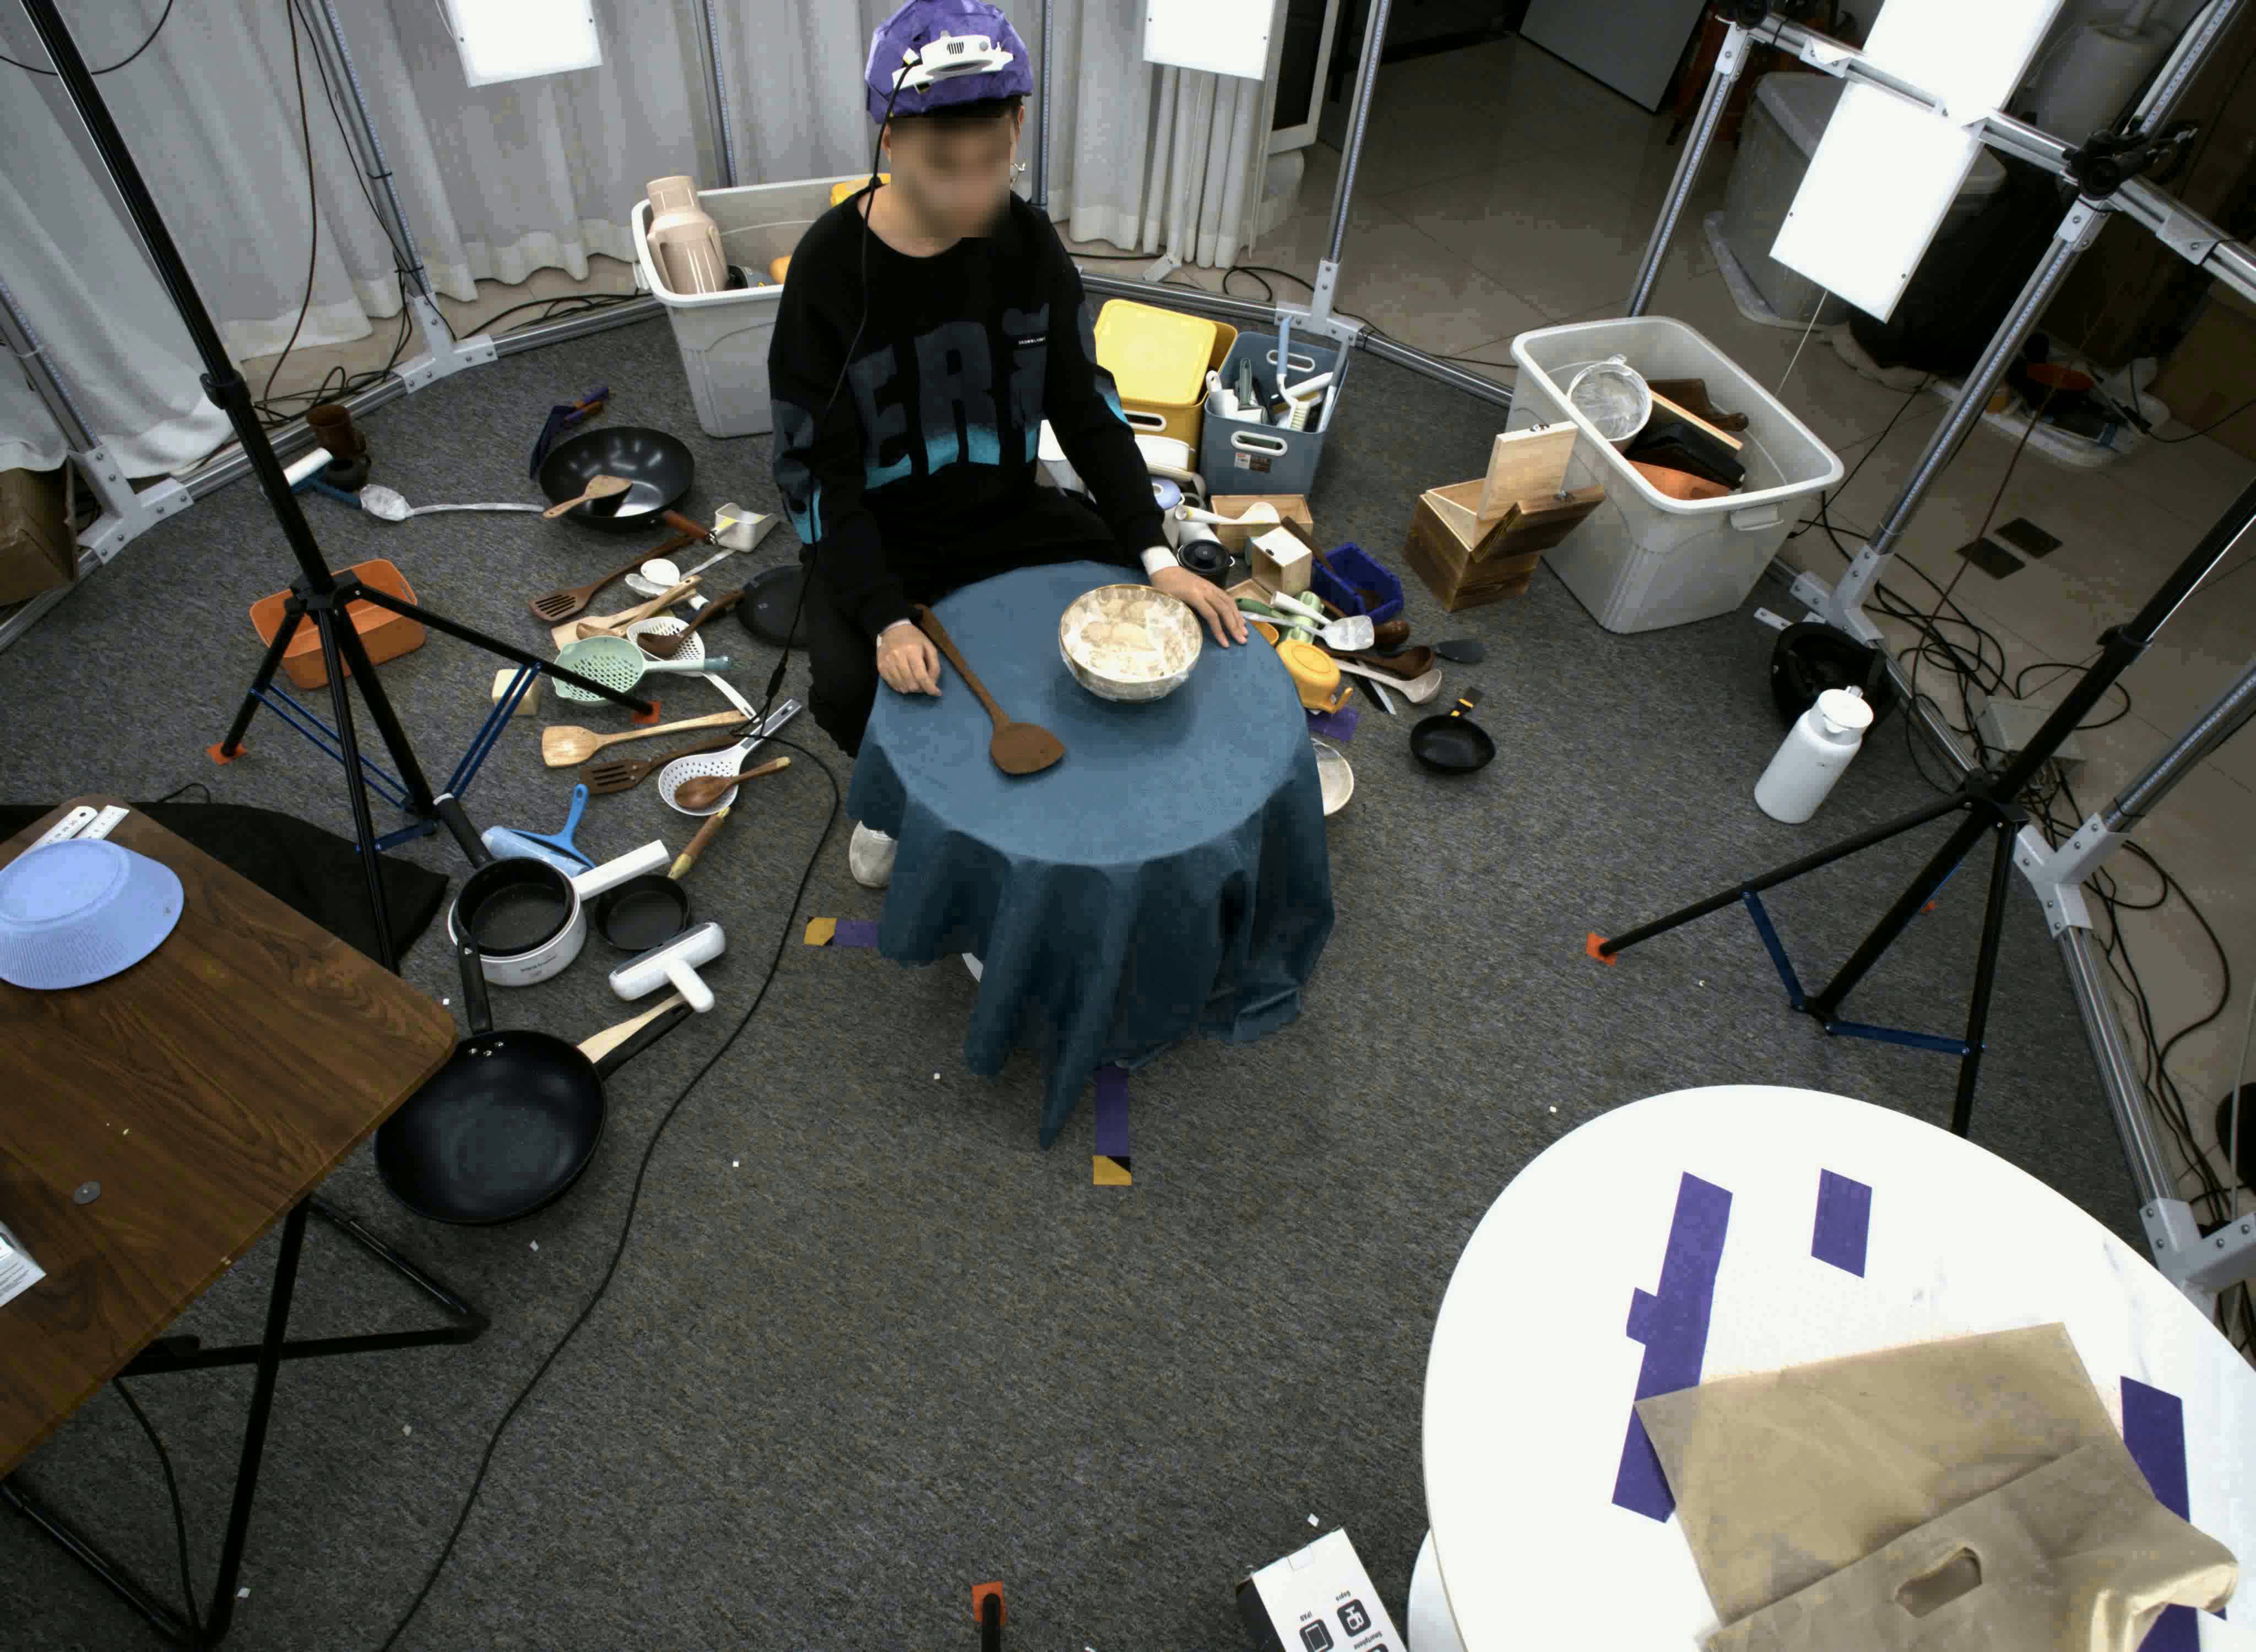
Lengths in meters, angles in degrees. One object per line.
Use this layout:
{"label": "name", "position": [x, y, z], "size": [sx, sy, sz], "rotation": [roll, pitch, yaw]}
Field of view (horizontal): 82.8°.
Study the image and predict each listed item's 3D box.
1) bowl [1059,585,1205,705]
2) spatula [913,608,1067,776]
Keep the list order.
{"label": "bowl", "position": [0.005, -0.245, 1.838], "size": [0.214, 0.092, 0.220], "rotation": [1, 48, -1]}
{"label": "spatula", "position": [-0.216, -0.202, 1.838], "size": [0.096, 0.015, 0.394], "rotation": [-23, 53, -22]}
